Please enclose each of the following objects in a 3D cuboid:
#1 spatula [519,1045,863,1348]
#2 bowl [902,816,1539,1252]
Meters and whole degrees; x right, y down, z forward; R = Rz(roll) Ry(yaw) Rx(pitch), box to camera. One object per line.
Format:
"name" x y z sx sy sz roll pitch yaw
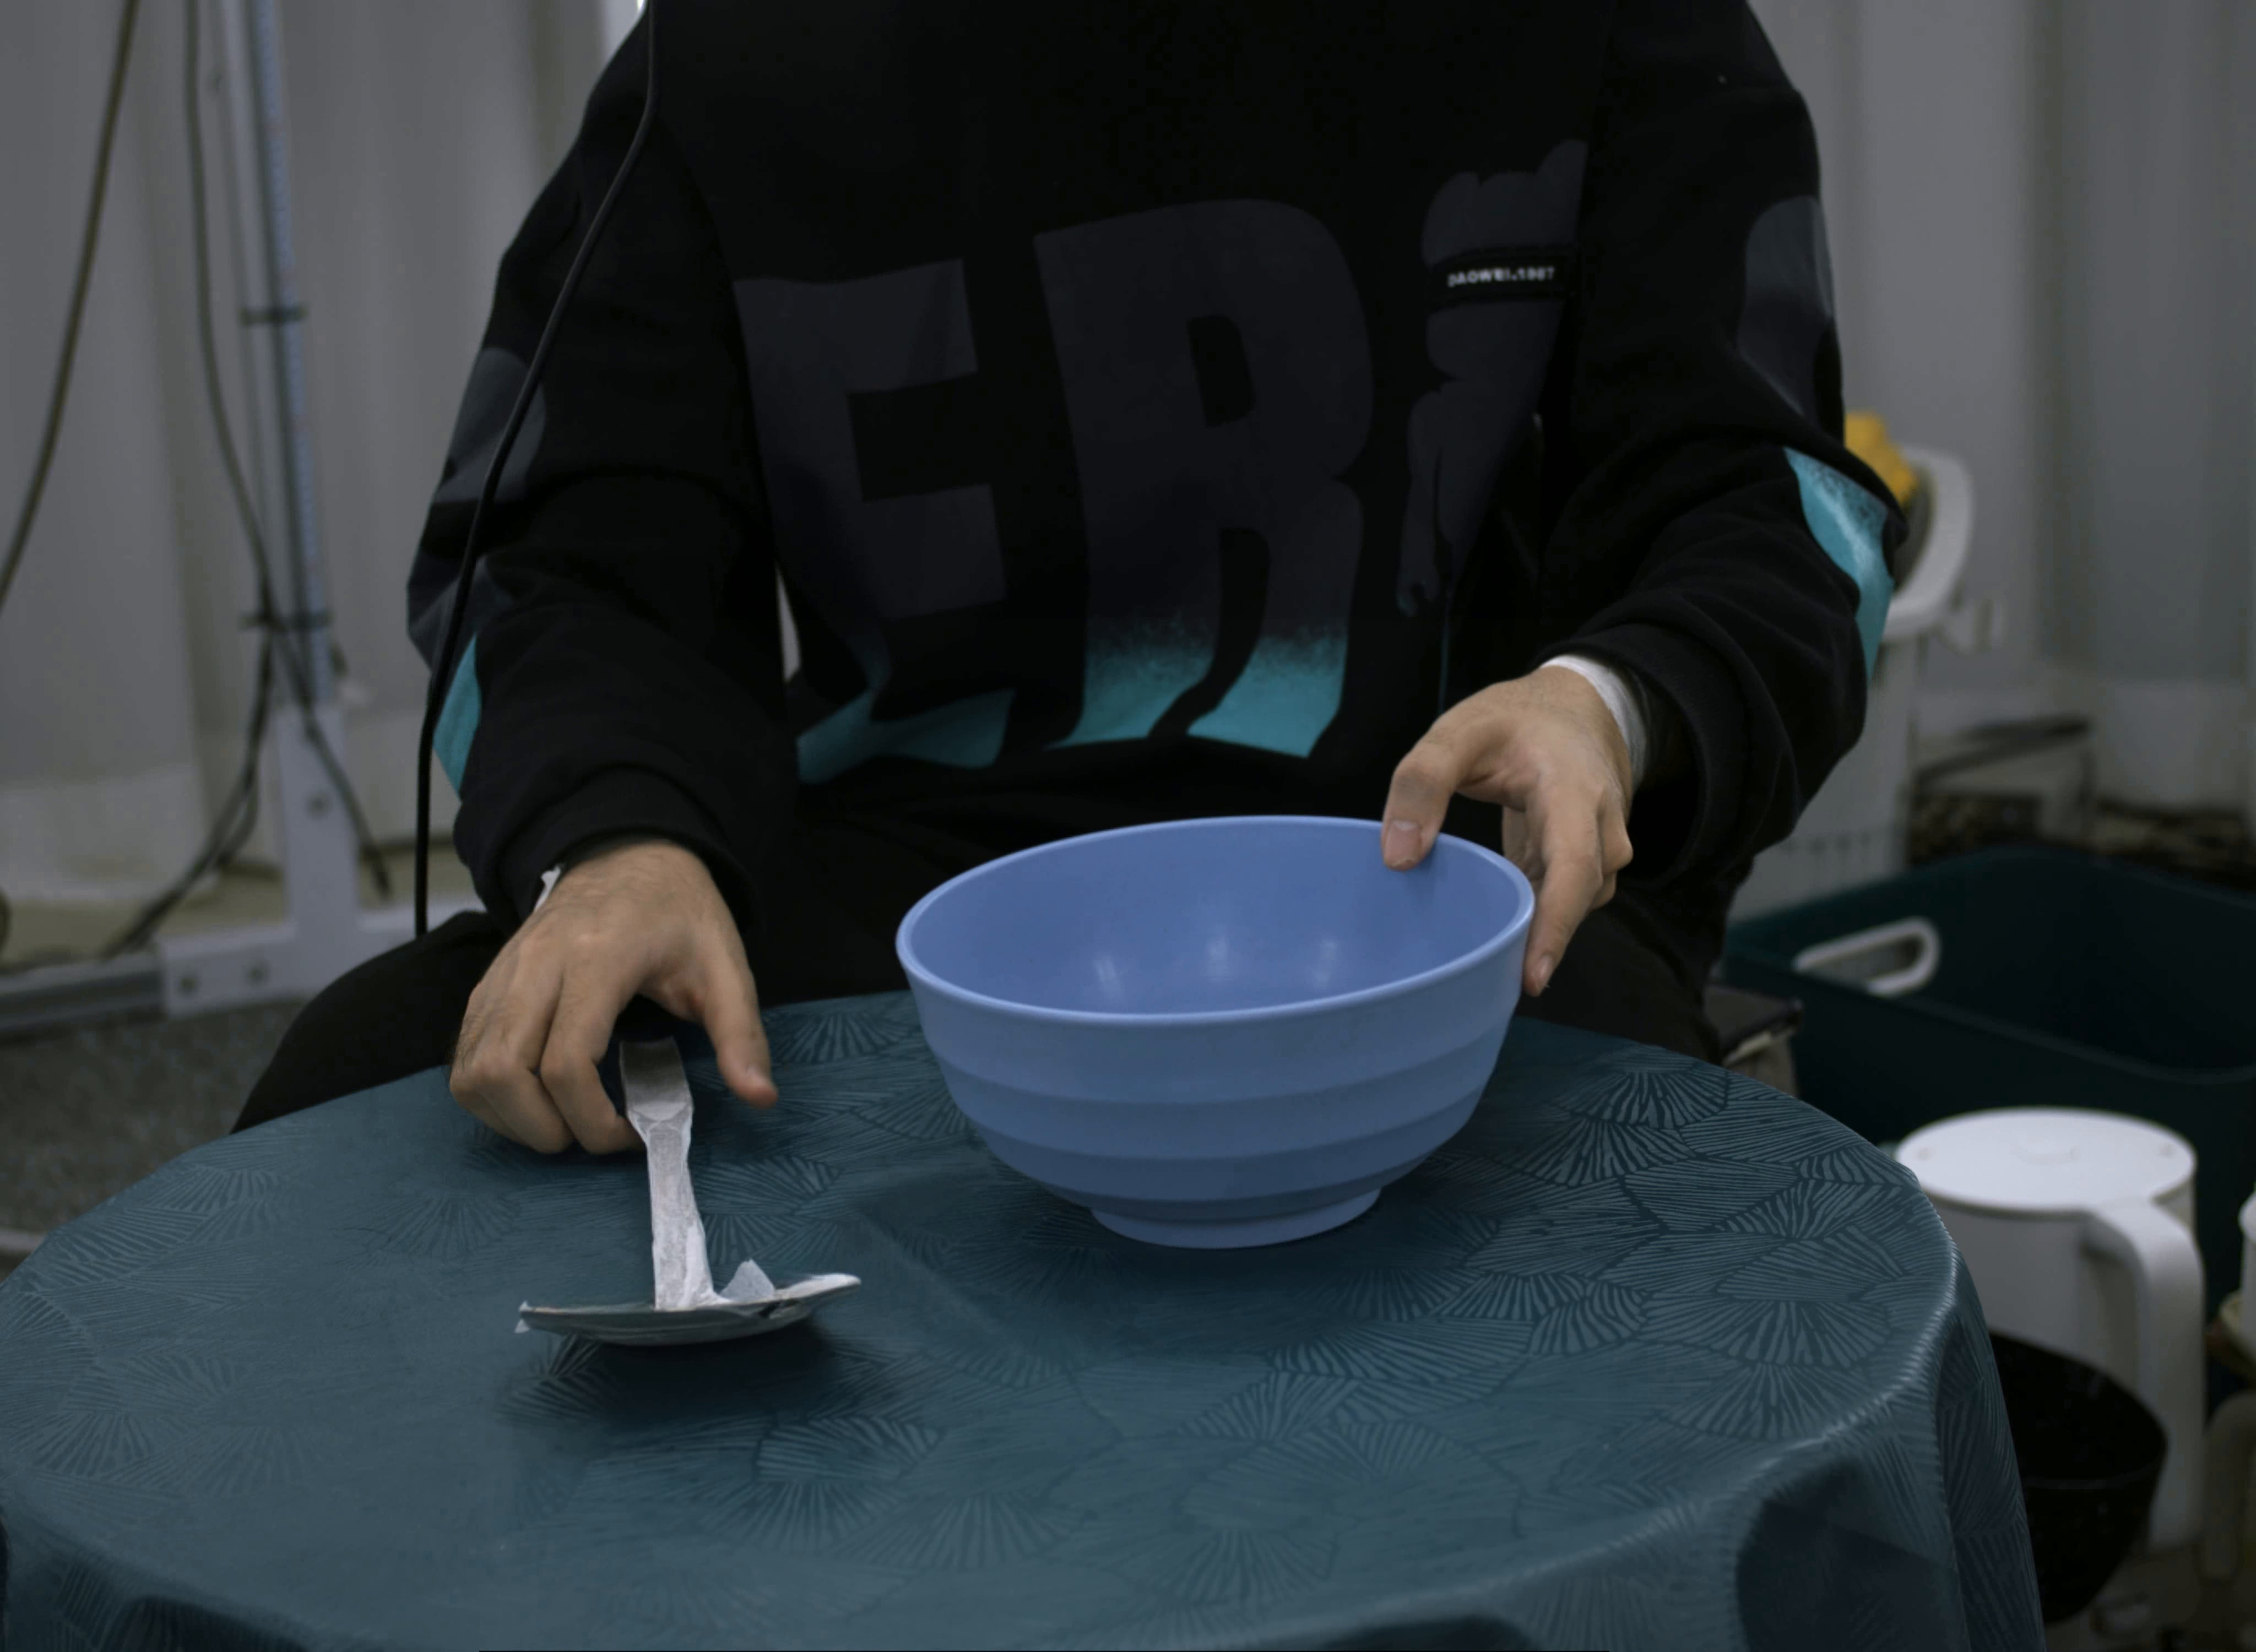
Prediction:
"spatula" -0.139 0.106 1.701 0.098 0.044 0.367 -6 15 -5
"bowl" 0.031 0.071 1.686 0.196 0.095 0.198 -4 17 1
